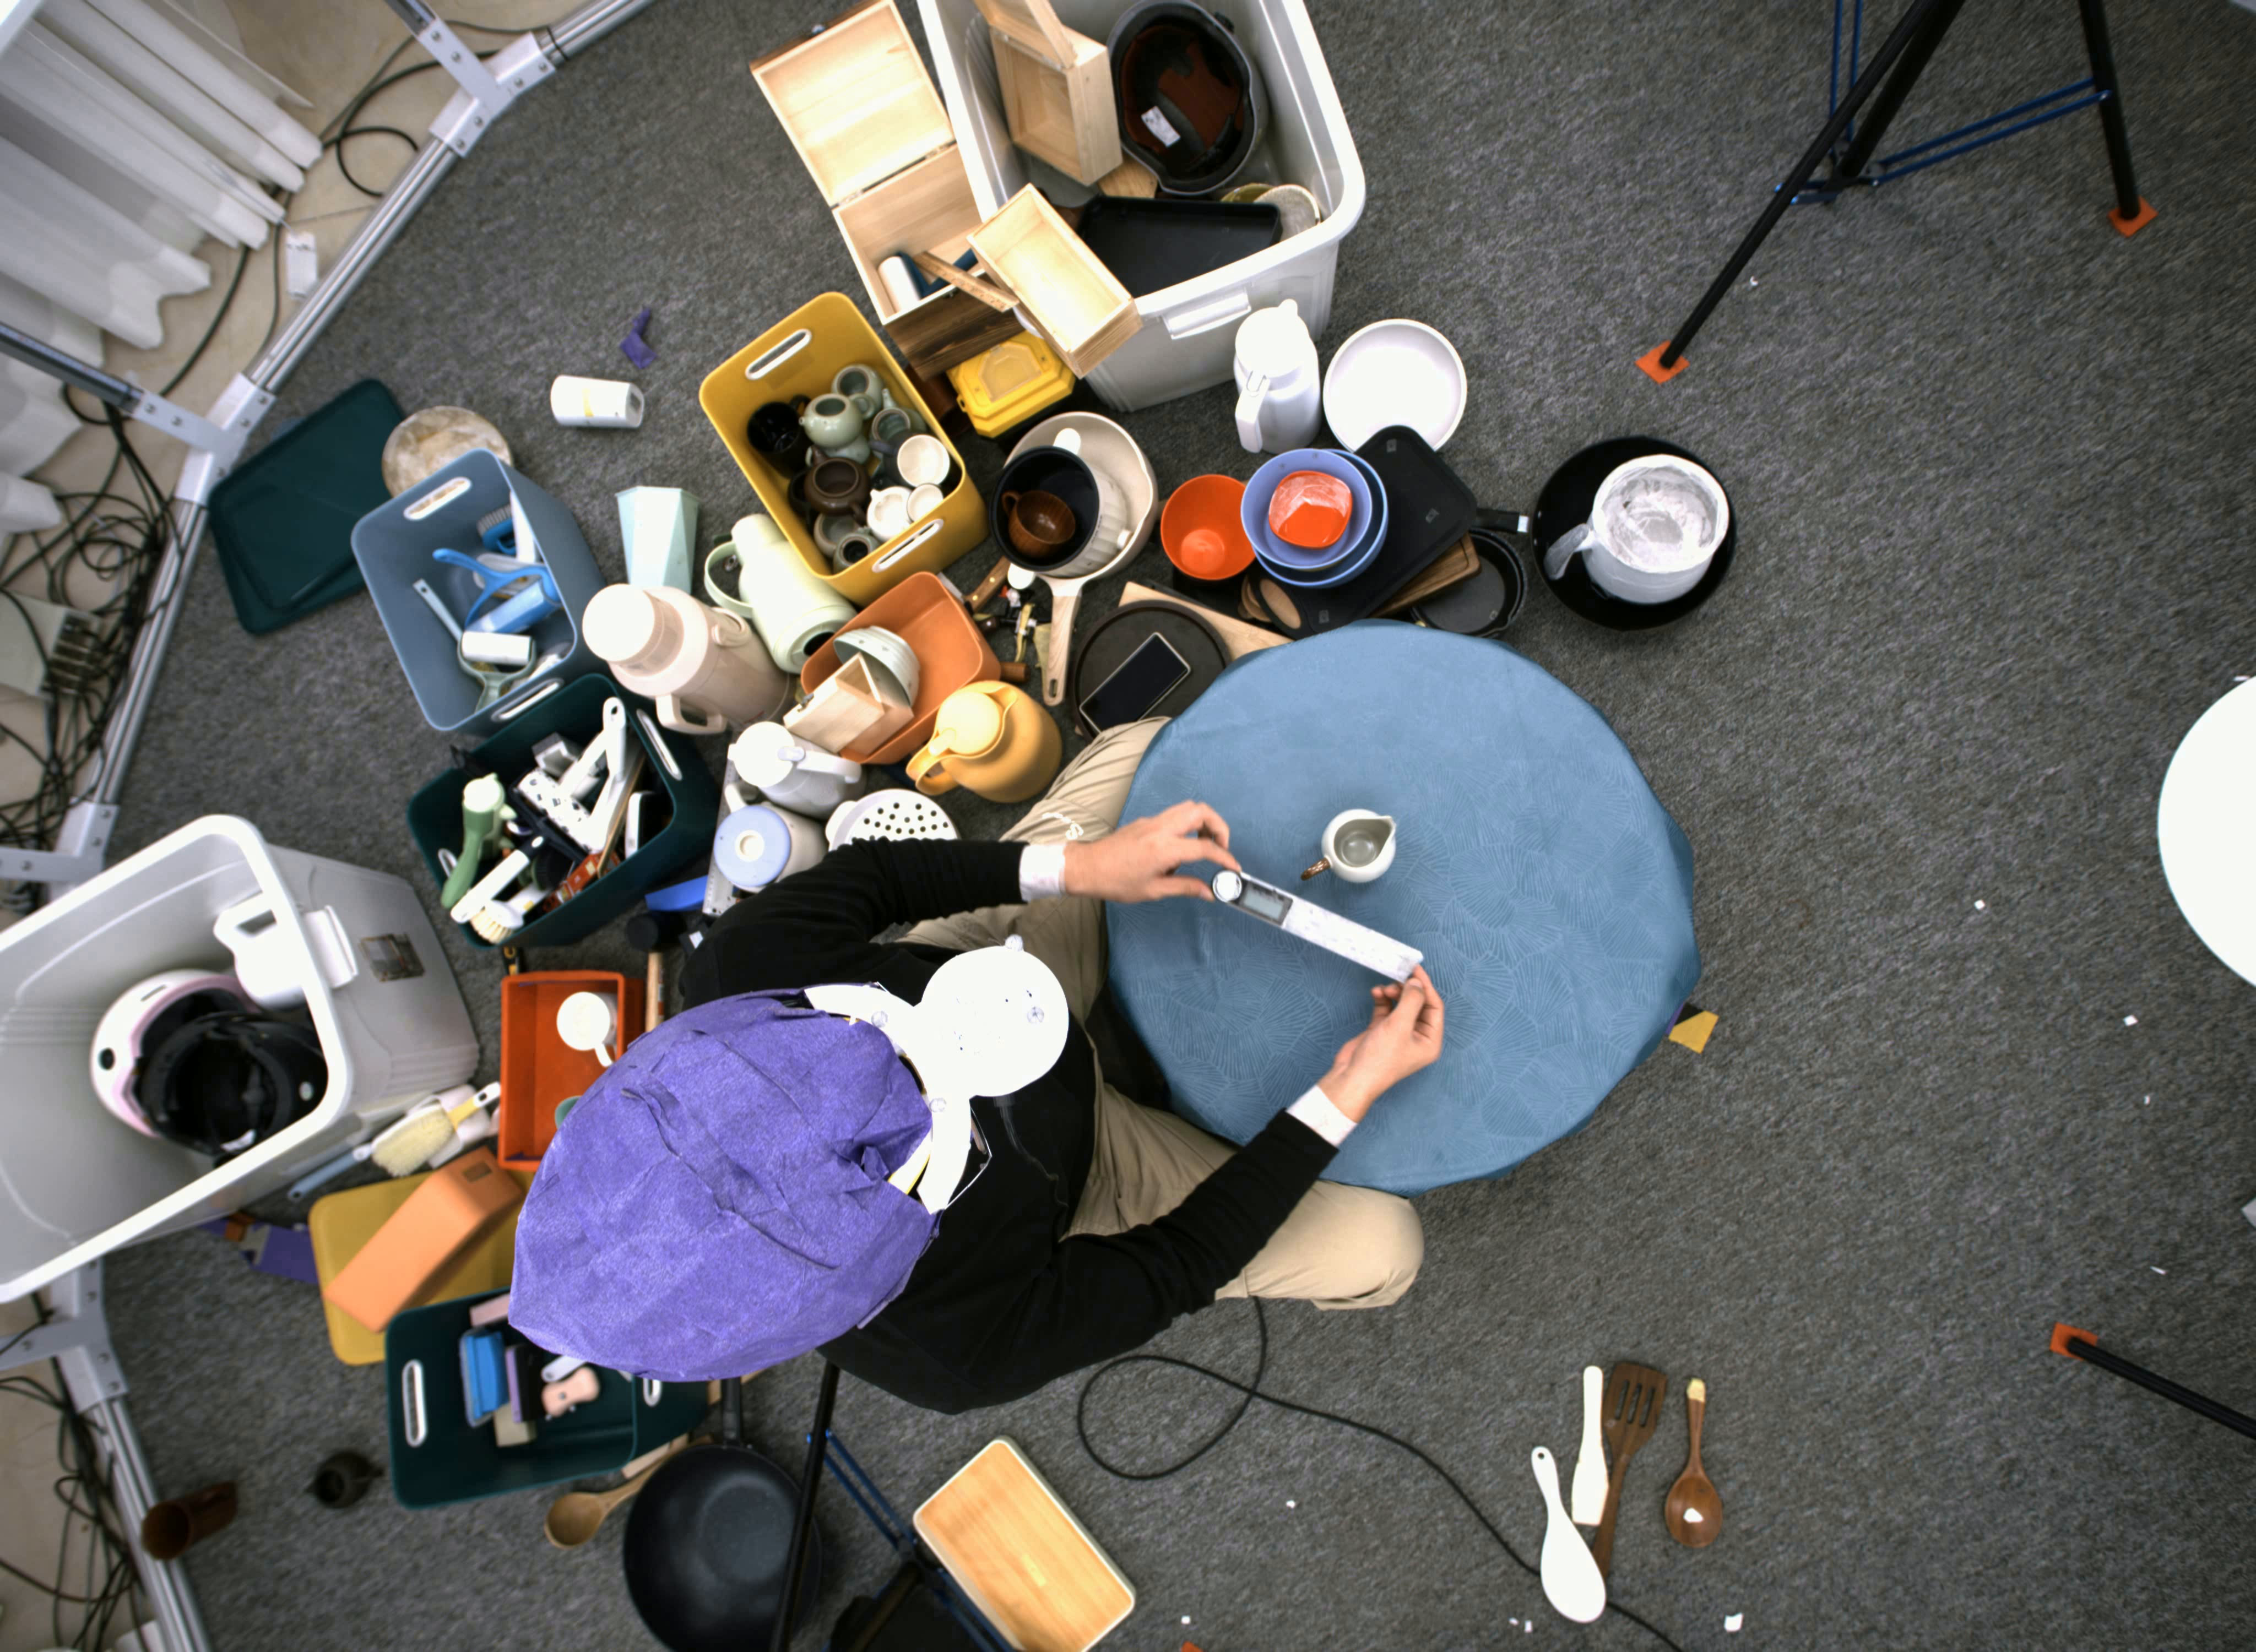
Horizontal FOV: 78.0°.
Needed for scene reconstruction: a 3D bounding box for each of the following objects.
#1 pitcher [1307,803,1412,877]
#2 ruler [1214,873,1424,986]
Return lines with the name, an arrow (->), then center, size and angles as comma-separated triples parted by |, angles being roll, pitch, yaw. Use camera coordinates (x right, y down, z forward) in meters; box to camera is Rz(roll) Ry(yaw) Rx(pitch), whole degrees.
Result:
pitcher -> 0.239, 0.018, 1.425 | 0.120, 0.088, 0.075 | -27, 78, 6
ruler -> 0.187, 0.101, 1.379 | 0.218, 0.024, 0.039 | 23, 103, 7
